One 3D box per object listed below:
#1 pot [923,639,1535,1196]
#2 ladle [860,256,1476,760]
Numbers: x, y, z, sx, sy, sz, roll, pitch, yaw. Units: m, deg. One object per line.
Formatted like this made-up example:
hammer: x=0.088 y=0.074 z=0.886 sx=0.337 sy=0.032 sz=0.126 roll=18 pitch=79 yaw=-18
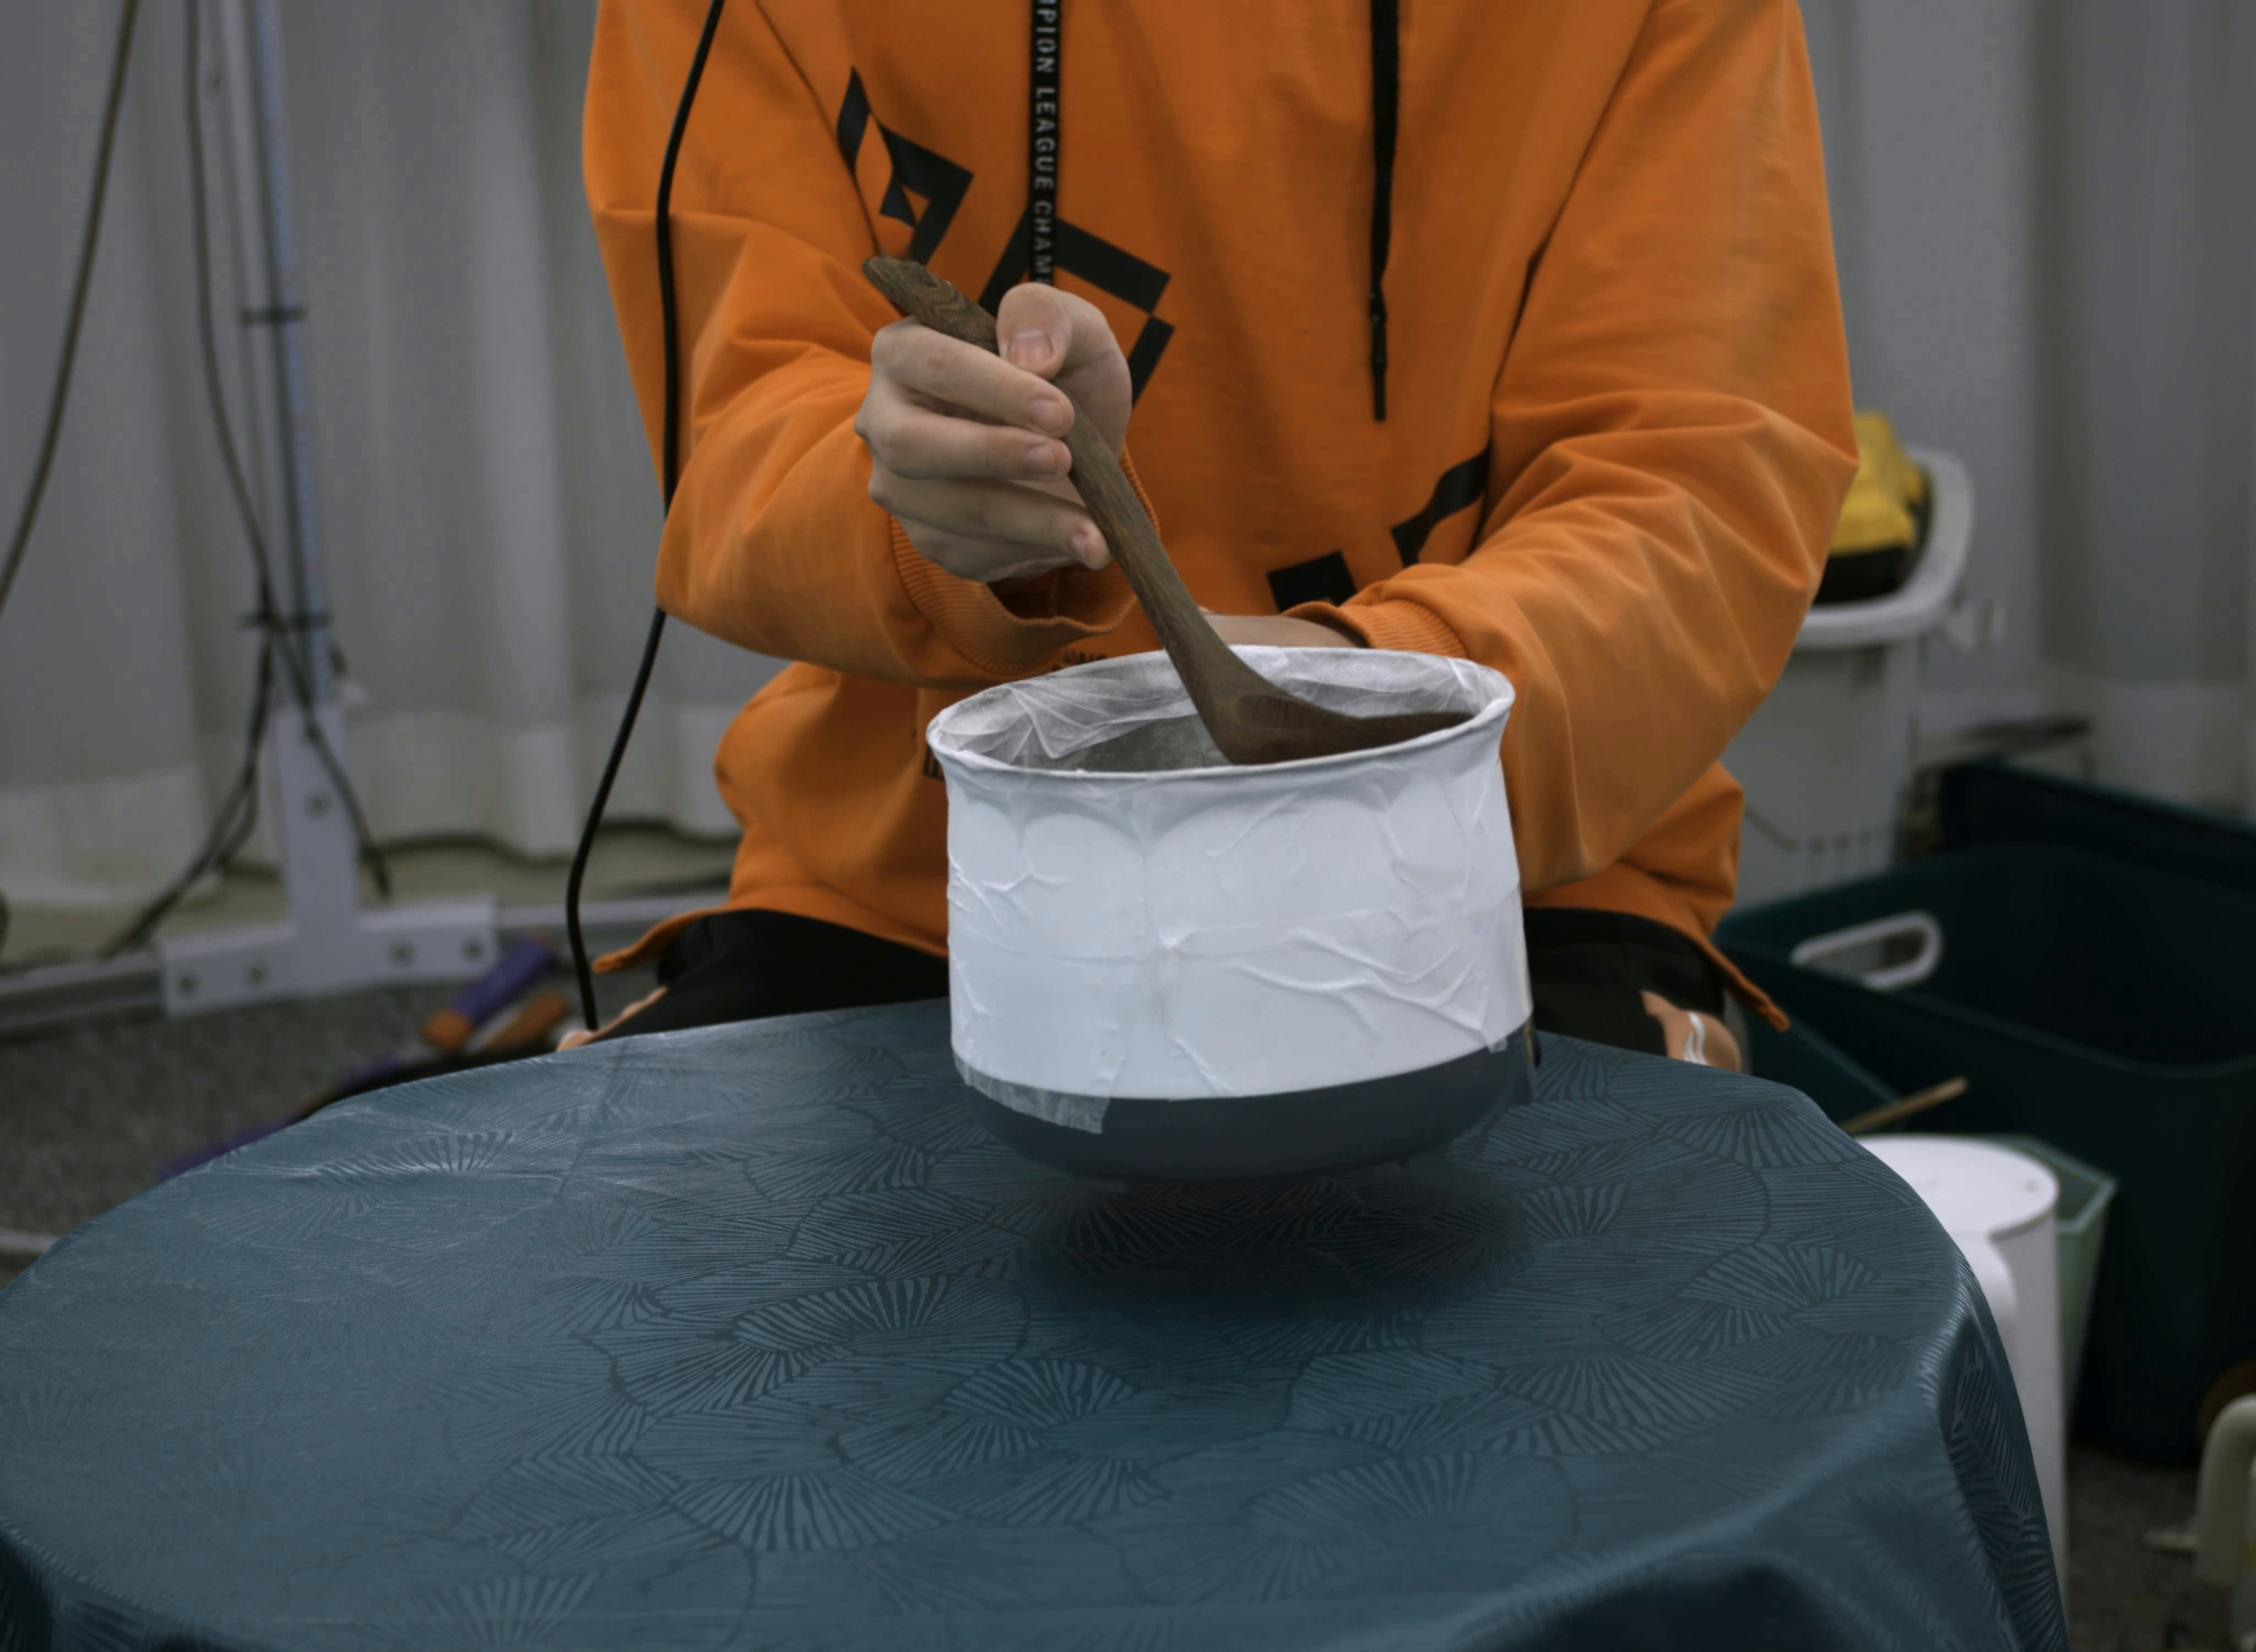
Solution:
pot: x=0.028 y=0.022 z=1.672 sx=0.178 sy=0.136 sz=0.235 roll=-5 pitch=12 yaw=-5
ladle: x=0.010 y=-0.104 z=1.685 sx=0.075 sy=0.071 sz=0.277 roll=5 pitch=42 yaw=-51
